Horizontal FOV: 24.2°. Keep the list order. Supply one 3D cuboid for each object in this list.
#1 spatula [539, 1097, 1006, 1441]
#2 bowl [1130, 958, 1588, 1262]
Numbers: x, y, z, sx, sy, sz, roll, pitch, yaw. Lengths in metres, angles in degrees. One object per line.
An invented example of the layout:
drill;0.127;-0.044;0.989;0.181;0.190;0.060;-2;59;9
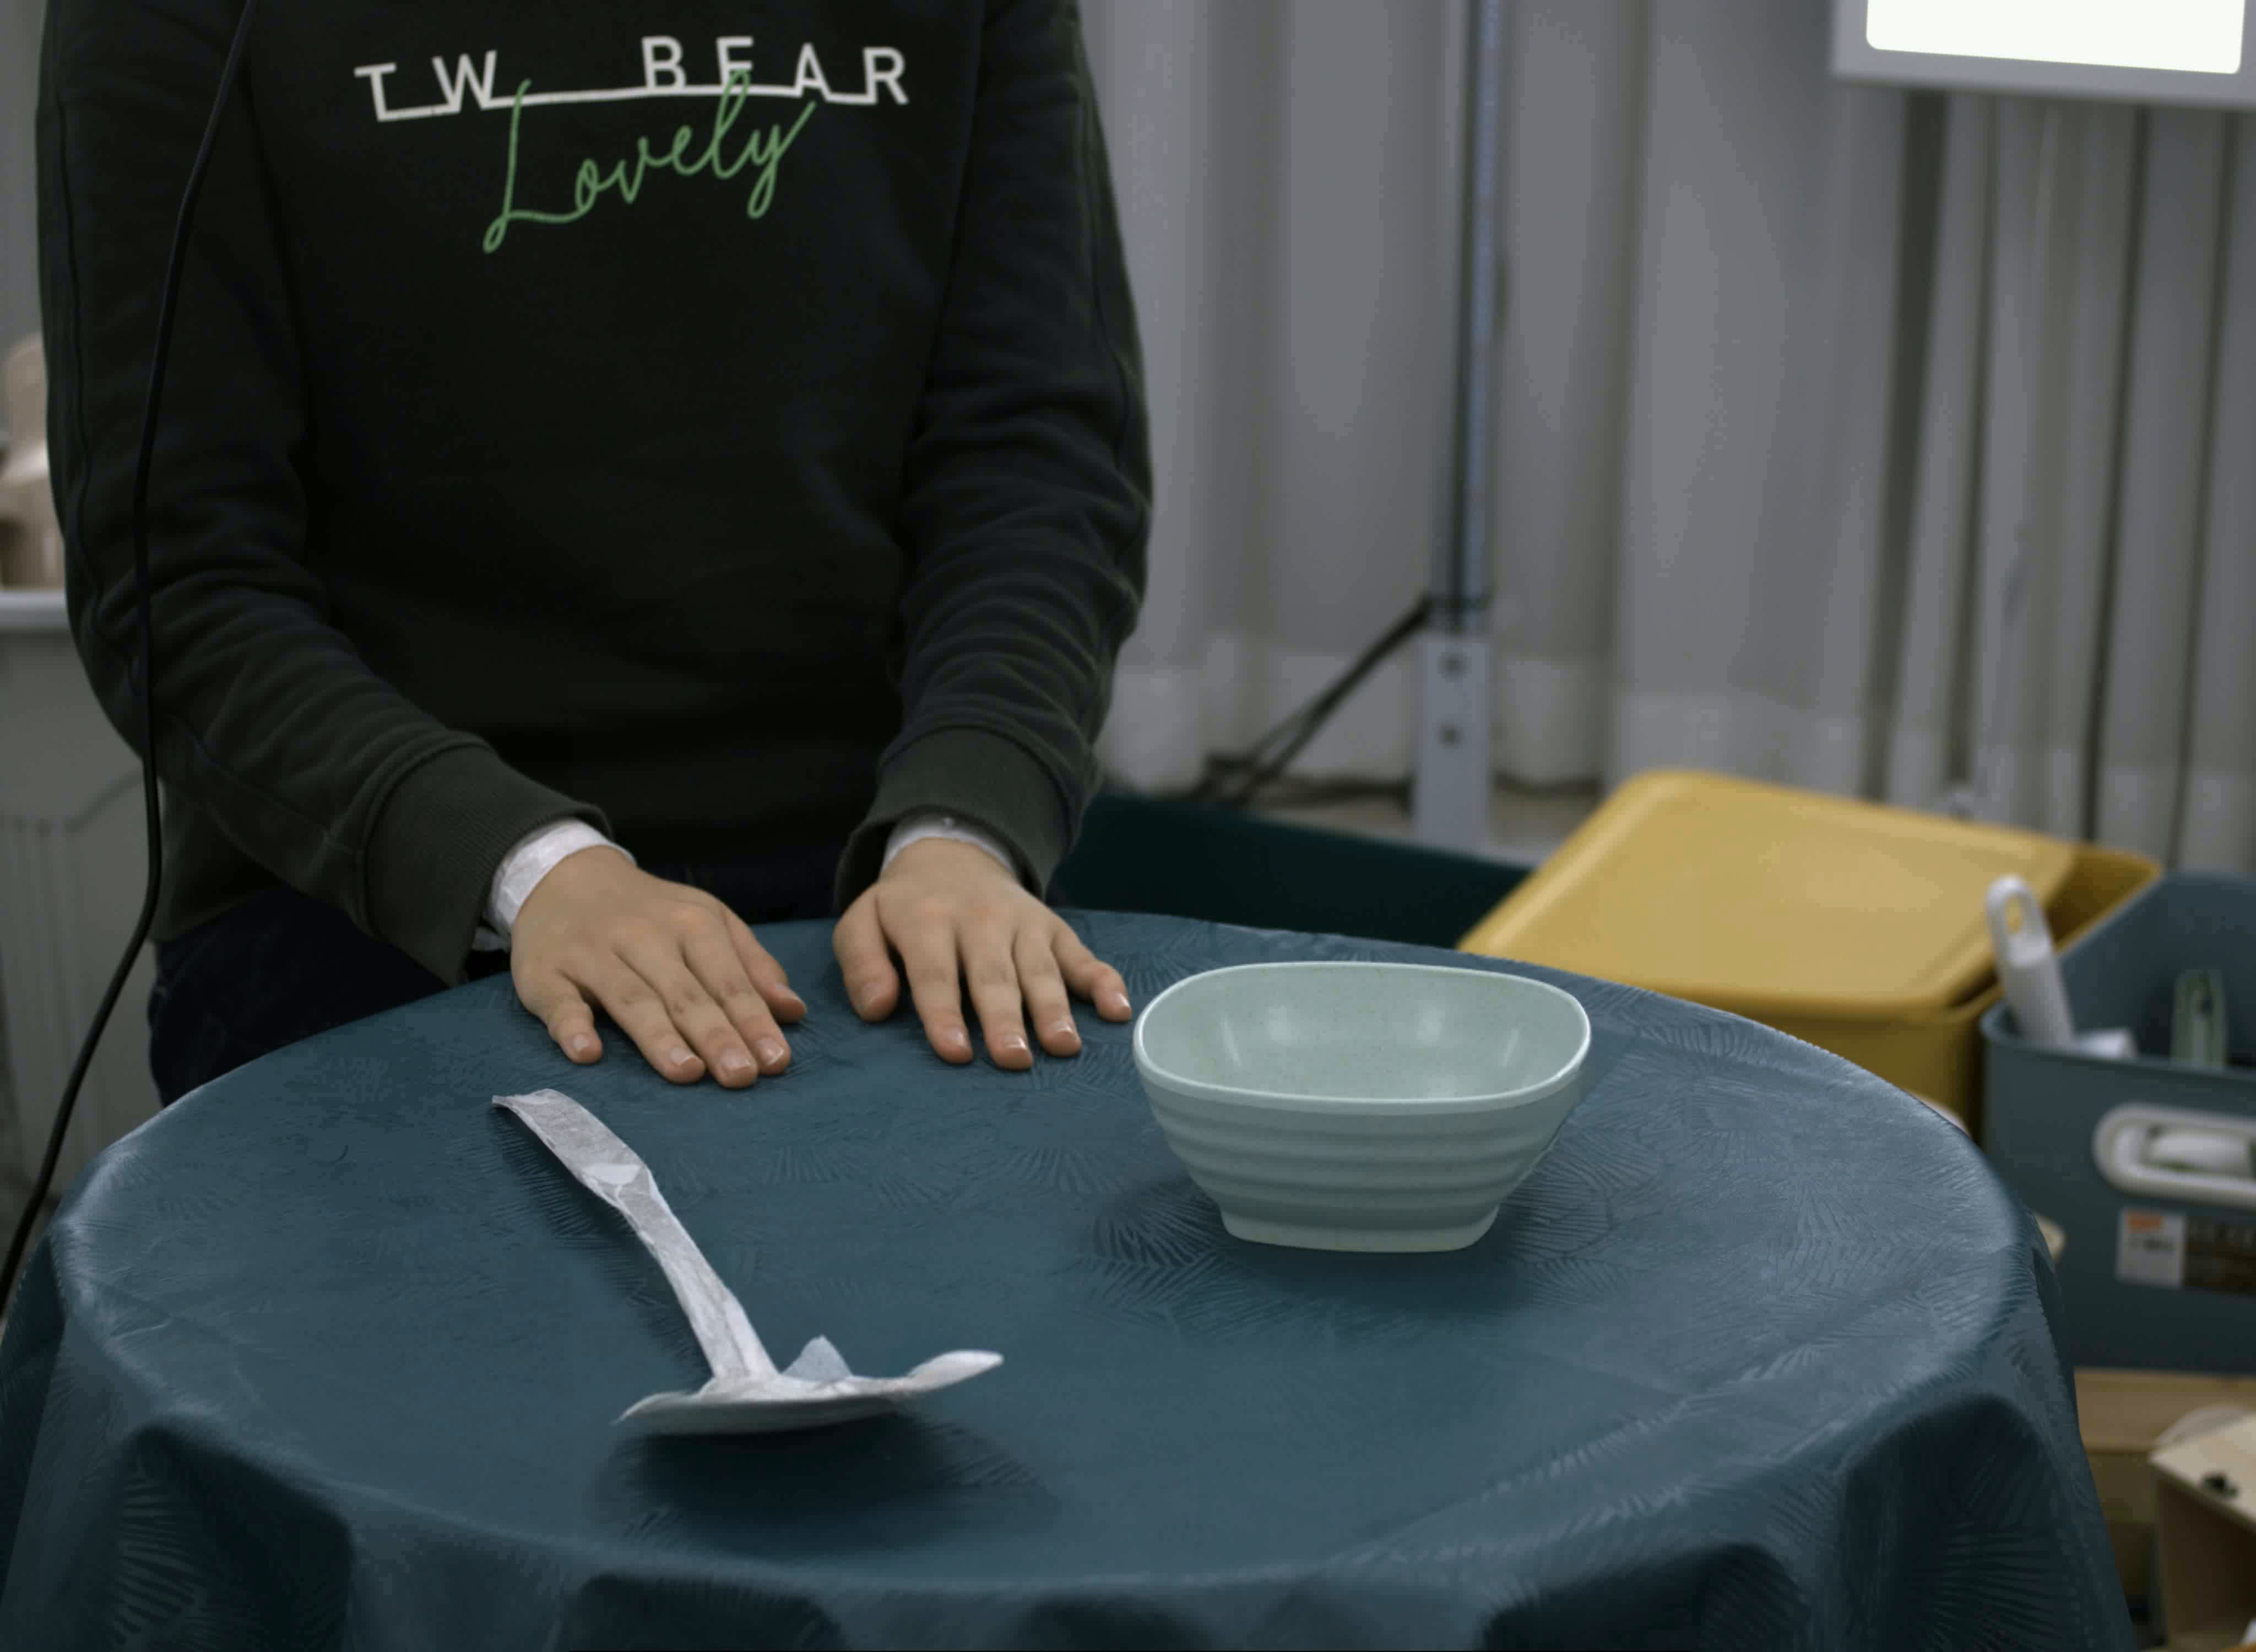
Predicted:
spatula;-0.128;0.119;1.528;0.099;0.045;0.361;-6;17;-18
bowl;0.070;0.090;1.609;0.151;0.059;0.150;2;18;0
